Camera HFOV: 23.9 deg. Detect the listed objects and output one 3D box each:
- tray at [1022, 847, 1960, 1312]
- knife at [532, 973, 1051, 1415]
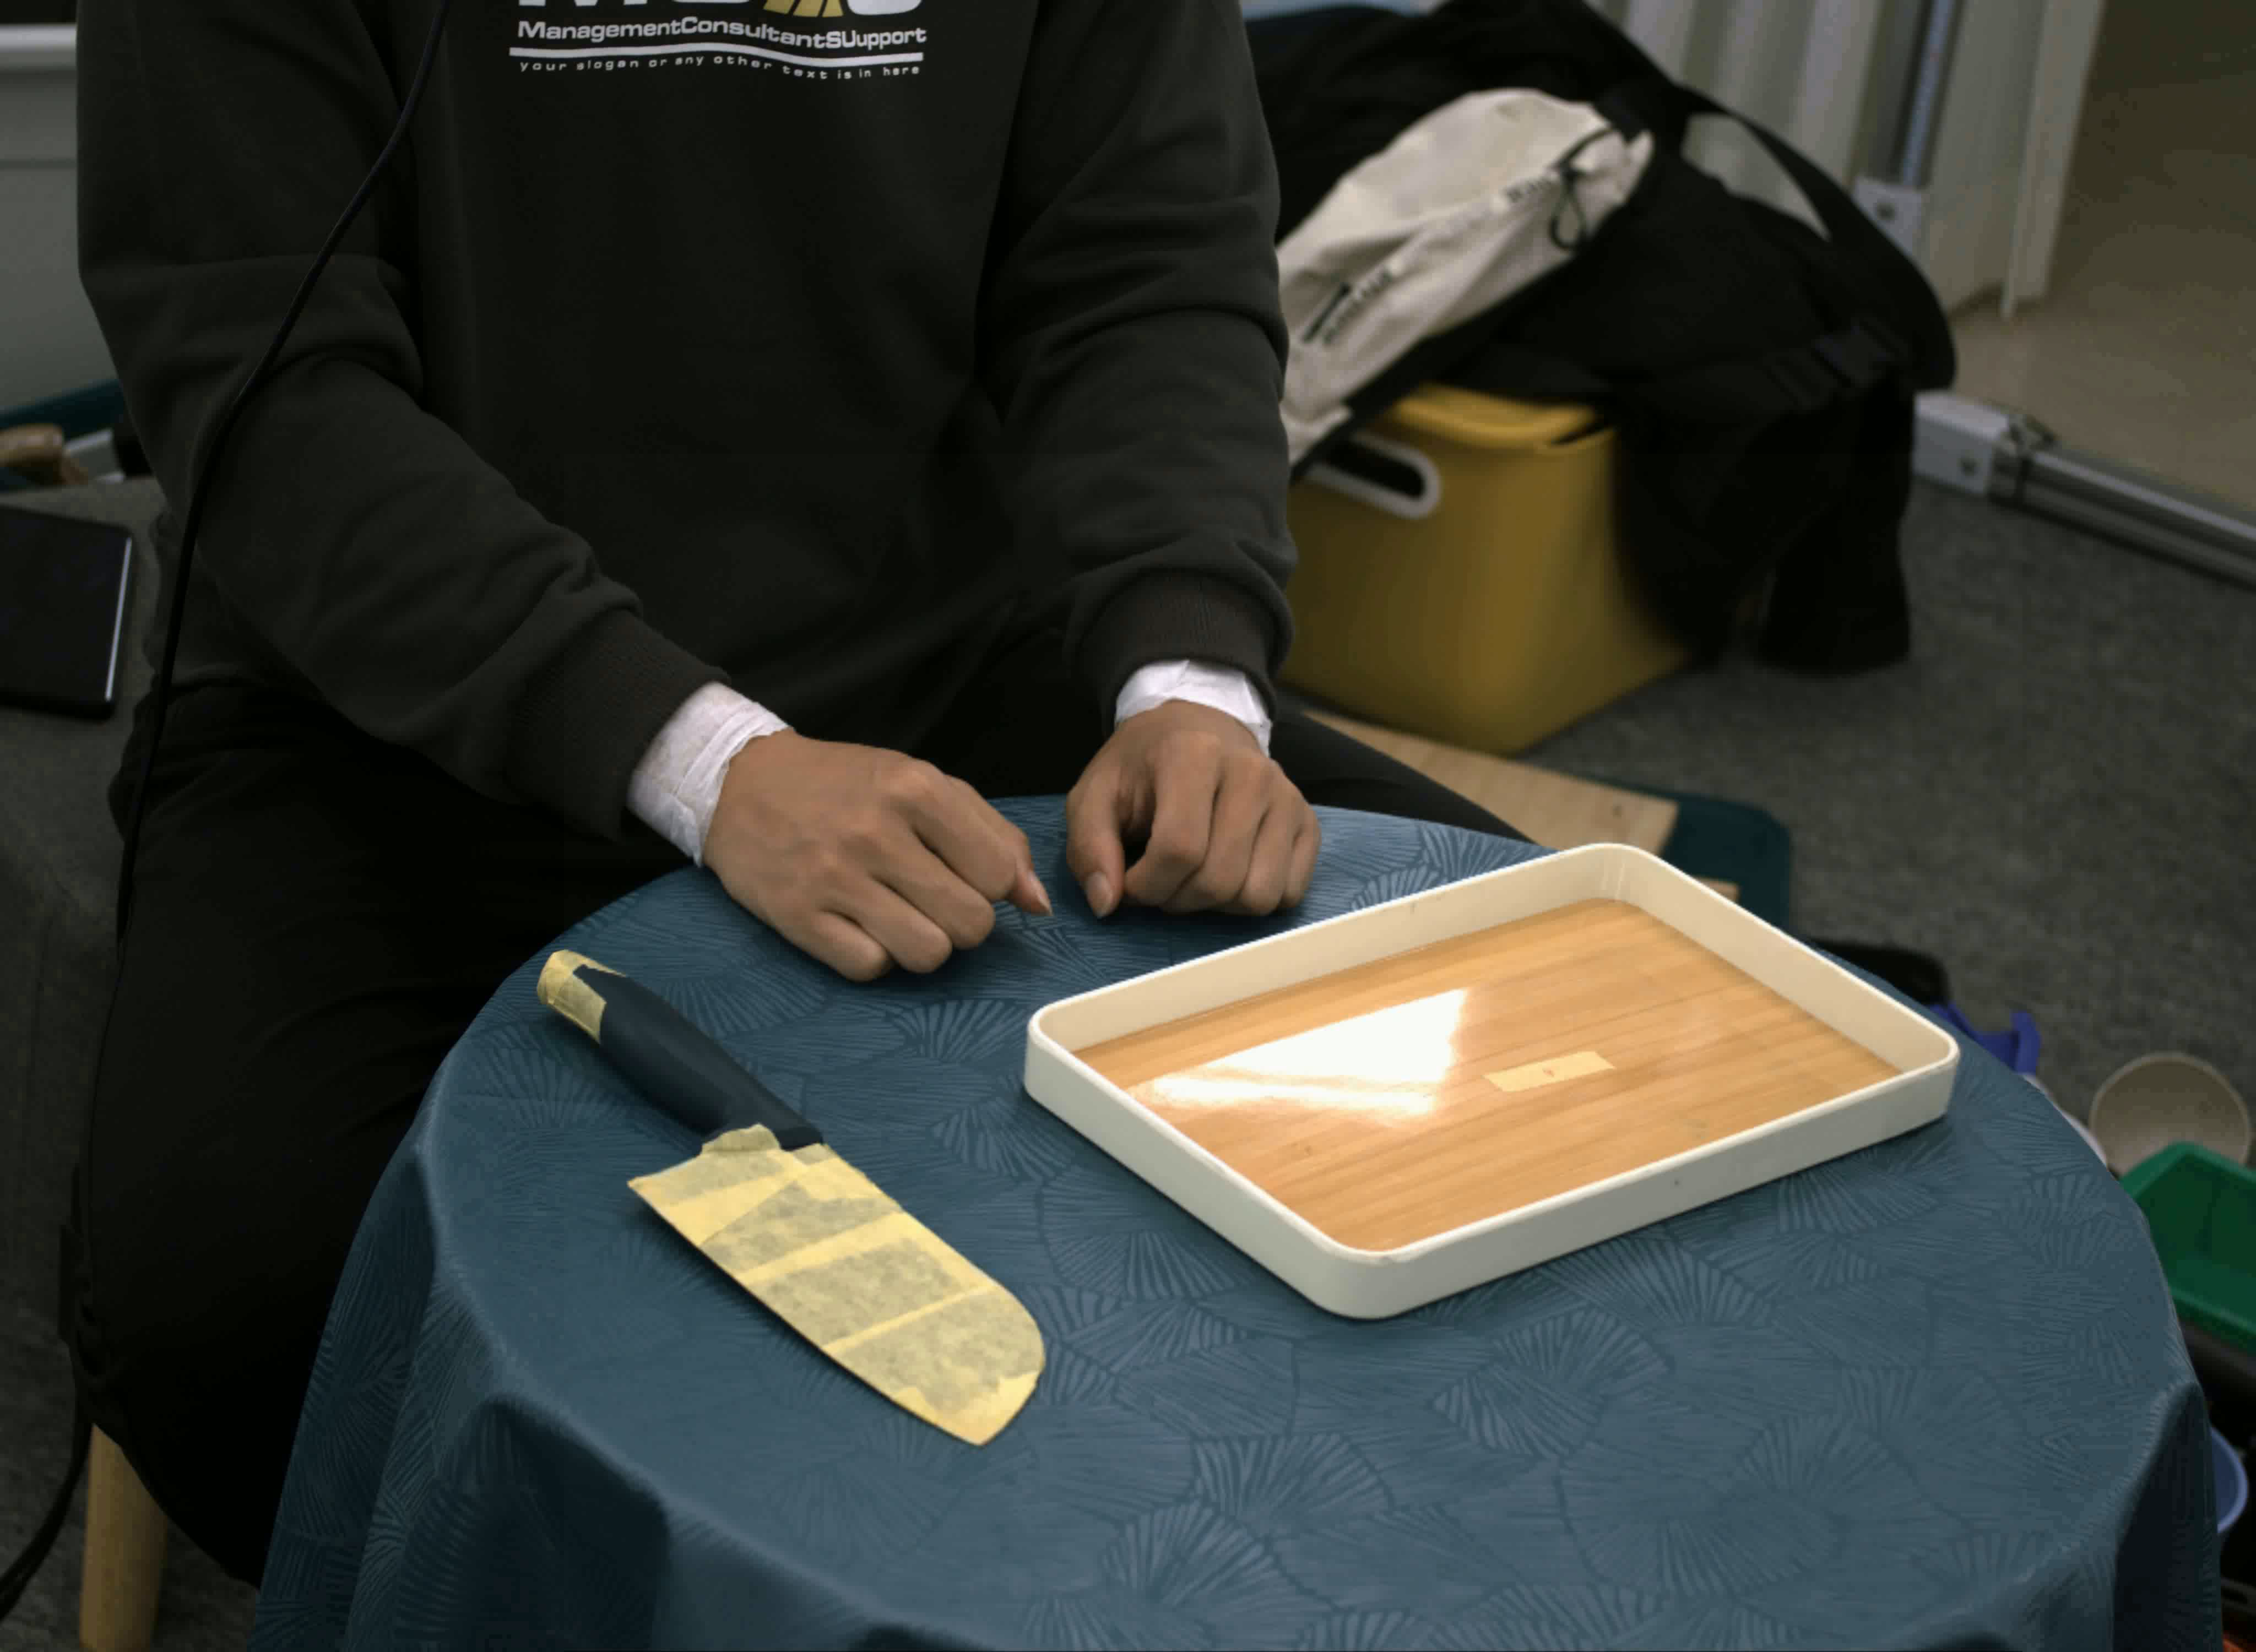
[{"bbox_3d":[0.130,0.084,1.883,0.298,0.027,0.193,-15,33,-36],"label":"tray"},{"bbox_3d":[-0.123,0.122,1.765,0.080,0.027,0.292,-13,33,-36],"label":"knife"}]
